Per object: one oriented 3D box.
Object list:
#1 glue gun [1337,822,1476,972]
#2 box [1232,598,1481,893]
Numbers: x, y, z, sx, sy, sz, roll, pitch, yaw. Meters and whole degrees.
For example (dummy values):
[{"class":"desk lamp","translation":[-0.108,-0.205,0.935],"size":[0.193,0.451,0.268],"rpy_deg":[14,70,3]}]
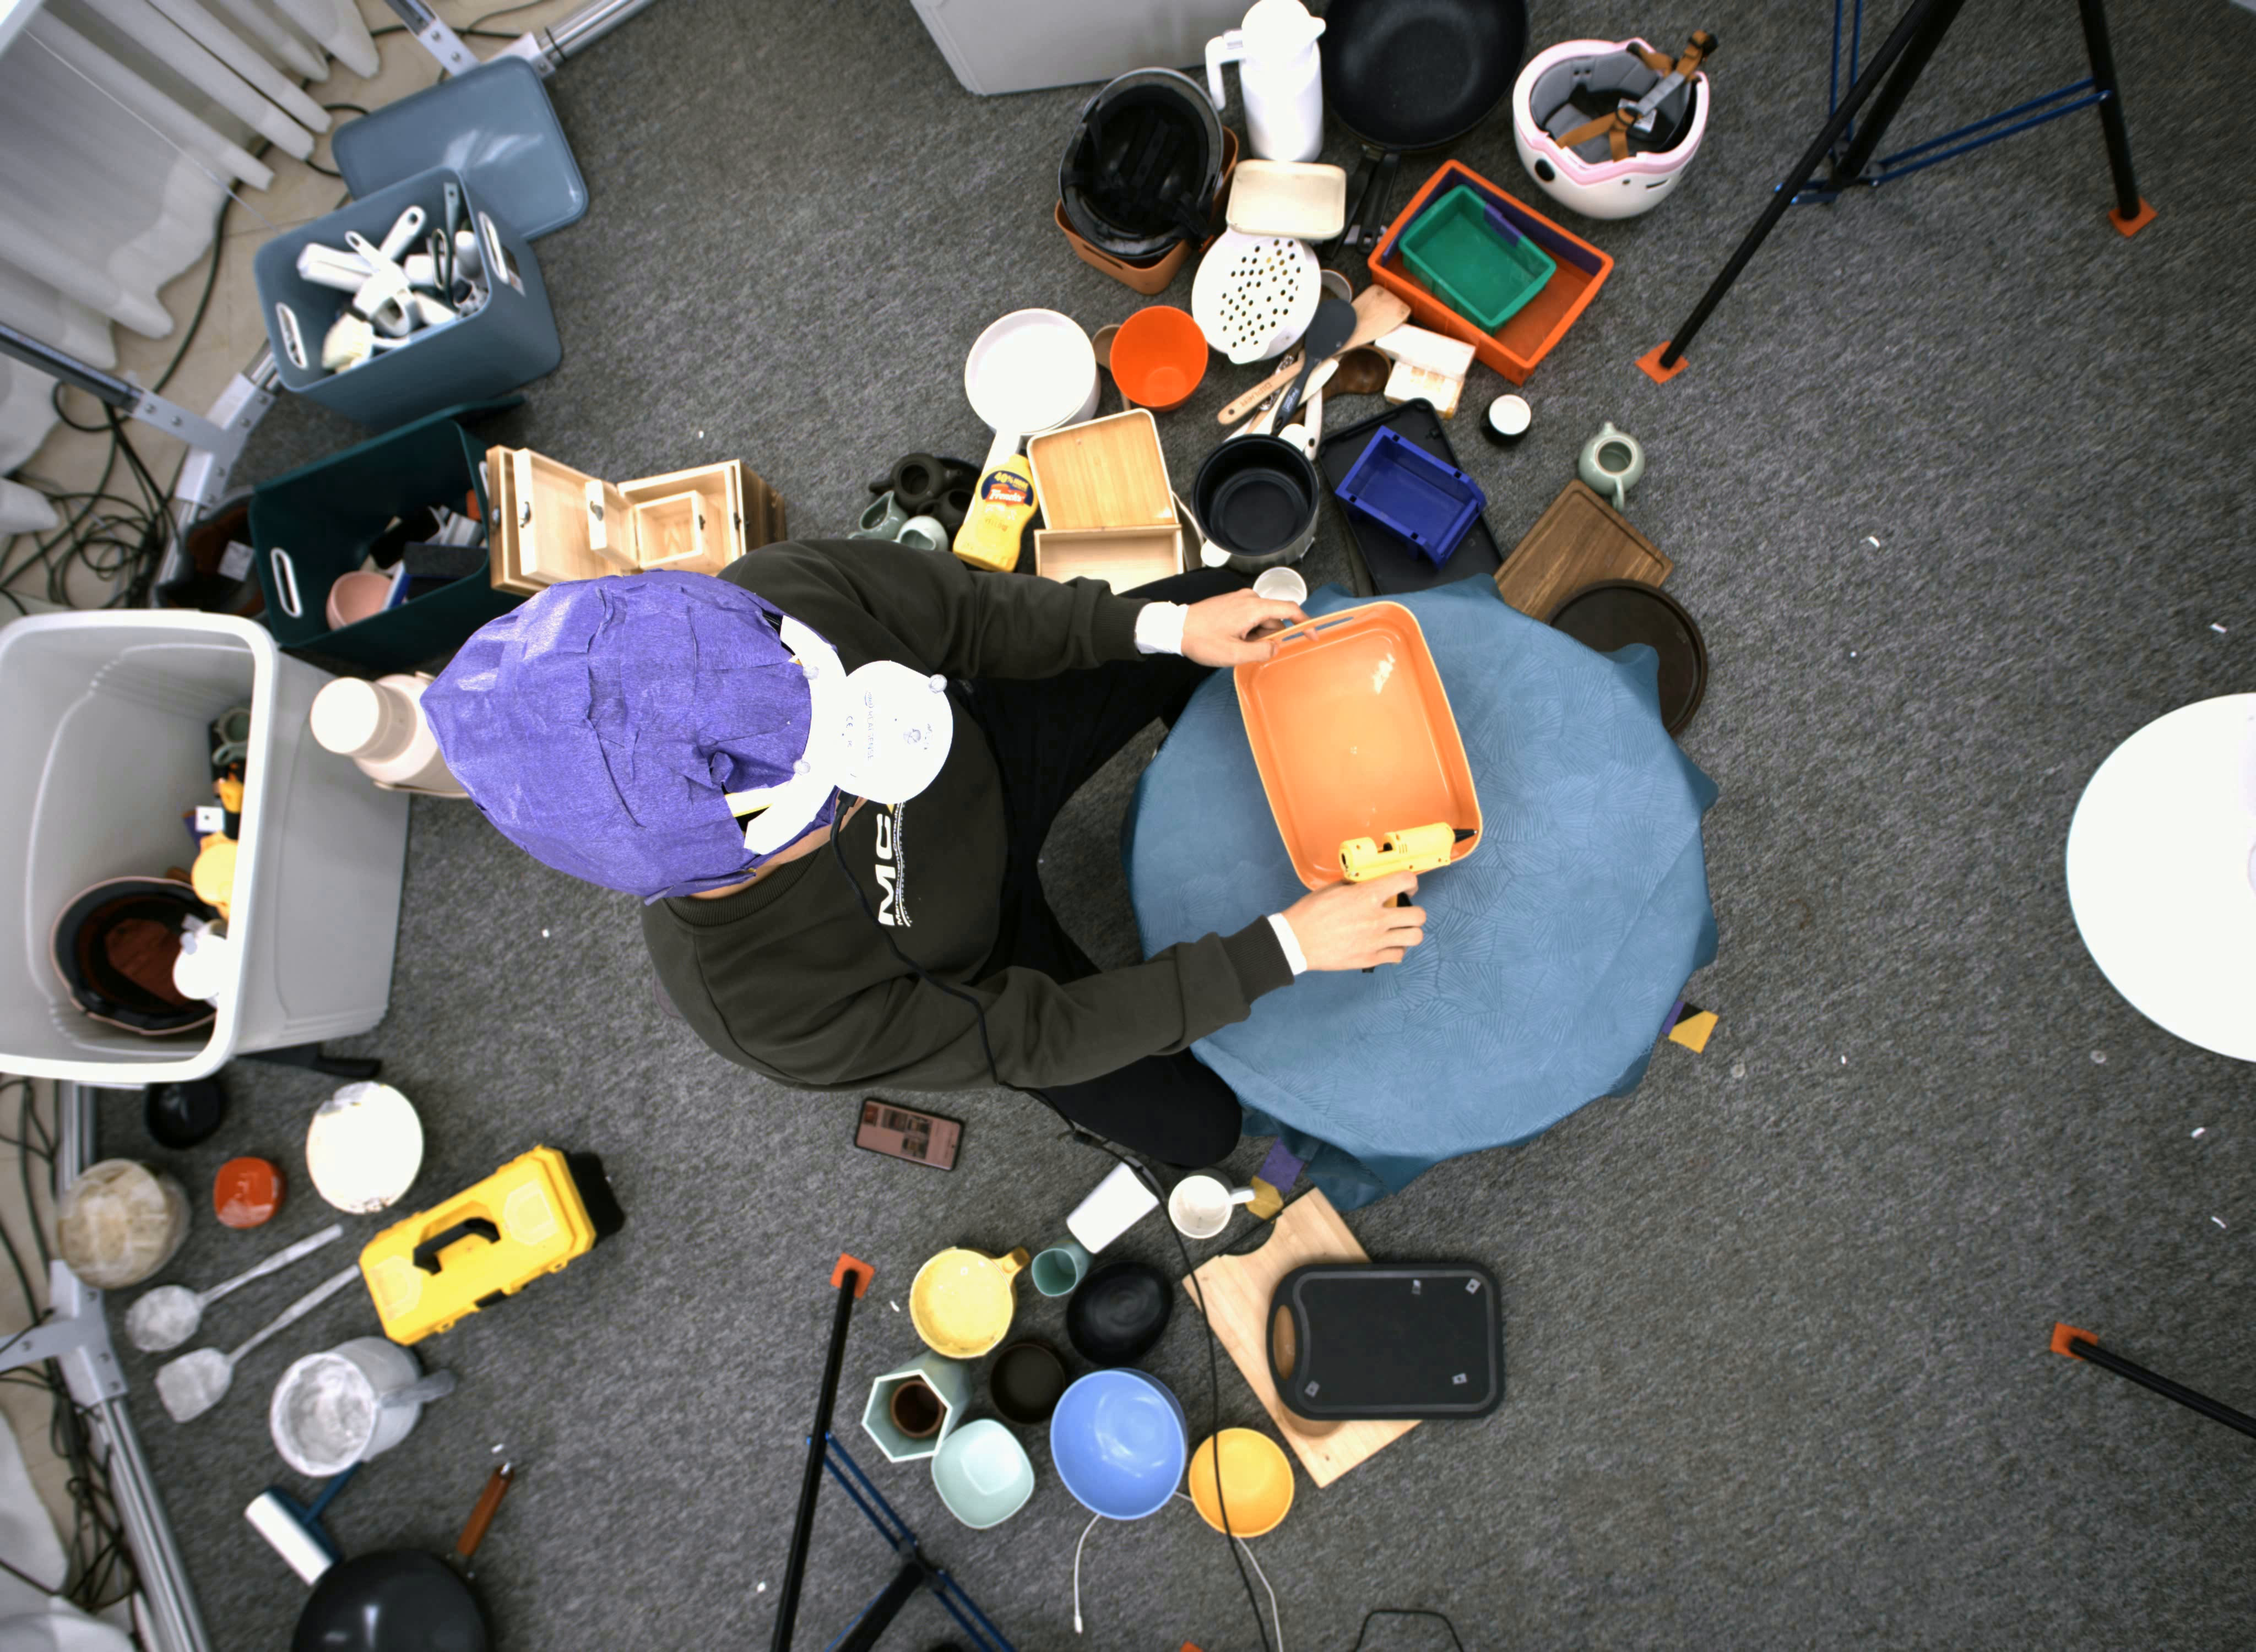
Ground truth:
[{"class":"glue gun","translation":[0.281,0.059,1.342],"size":[0.150,0.031,0.134],"rpy_deg":[-16,103,-16]},{"class":"box","translation":[0.231,-0.081,1.409],"size":[0.201,0.102,0.273],"rpy_deg":[-18,93,10]}]
